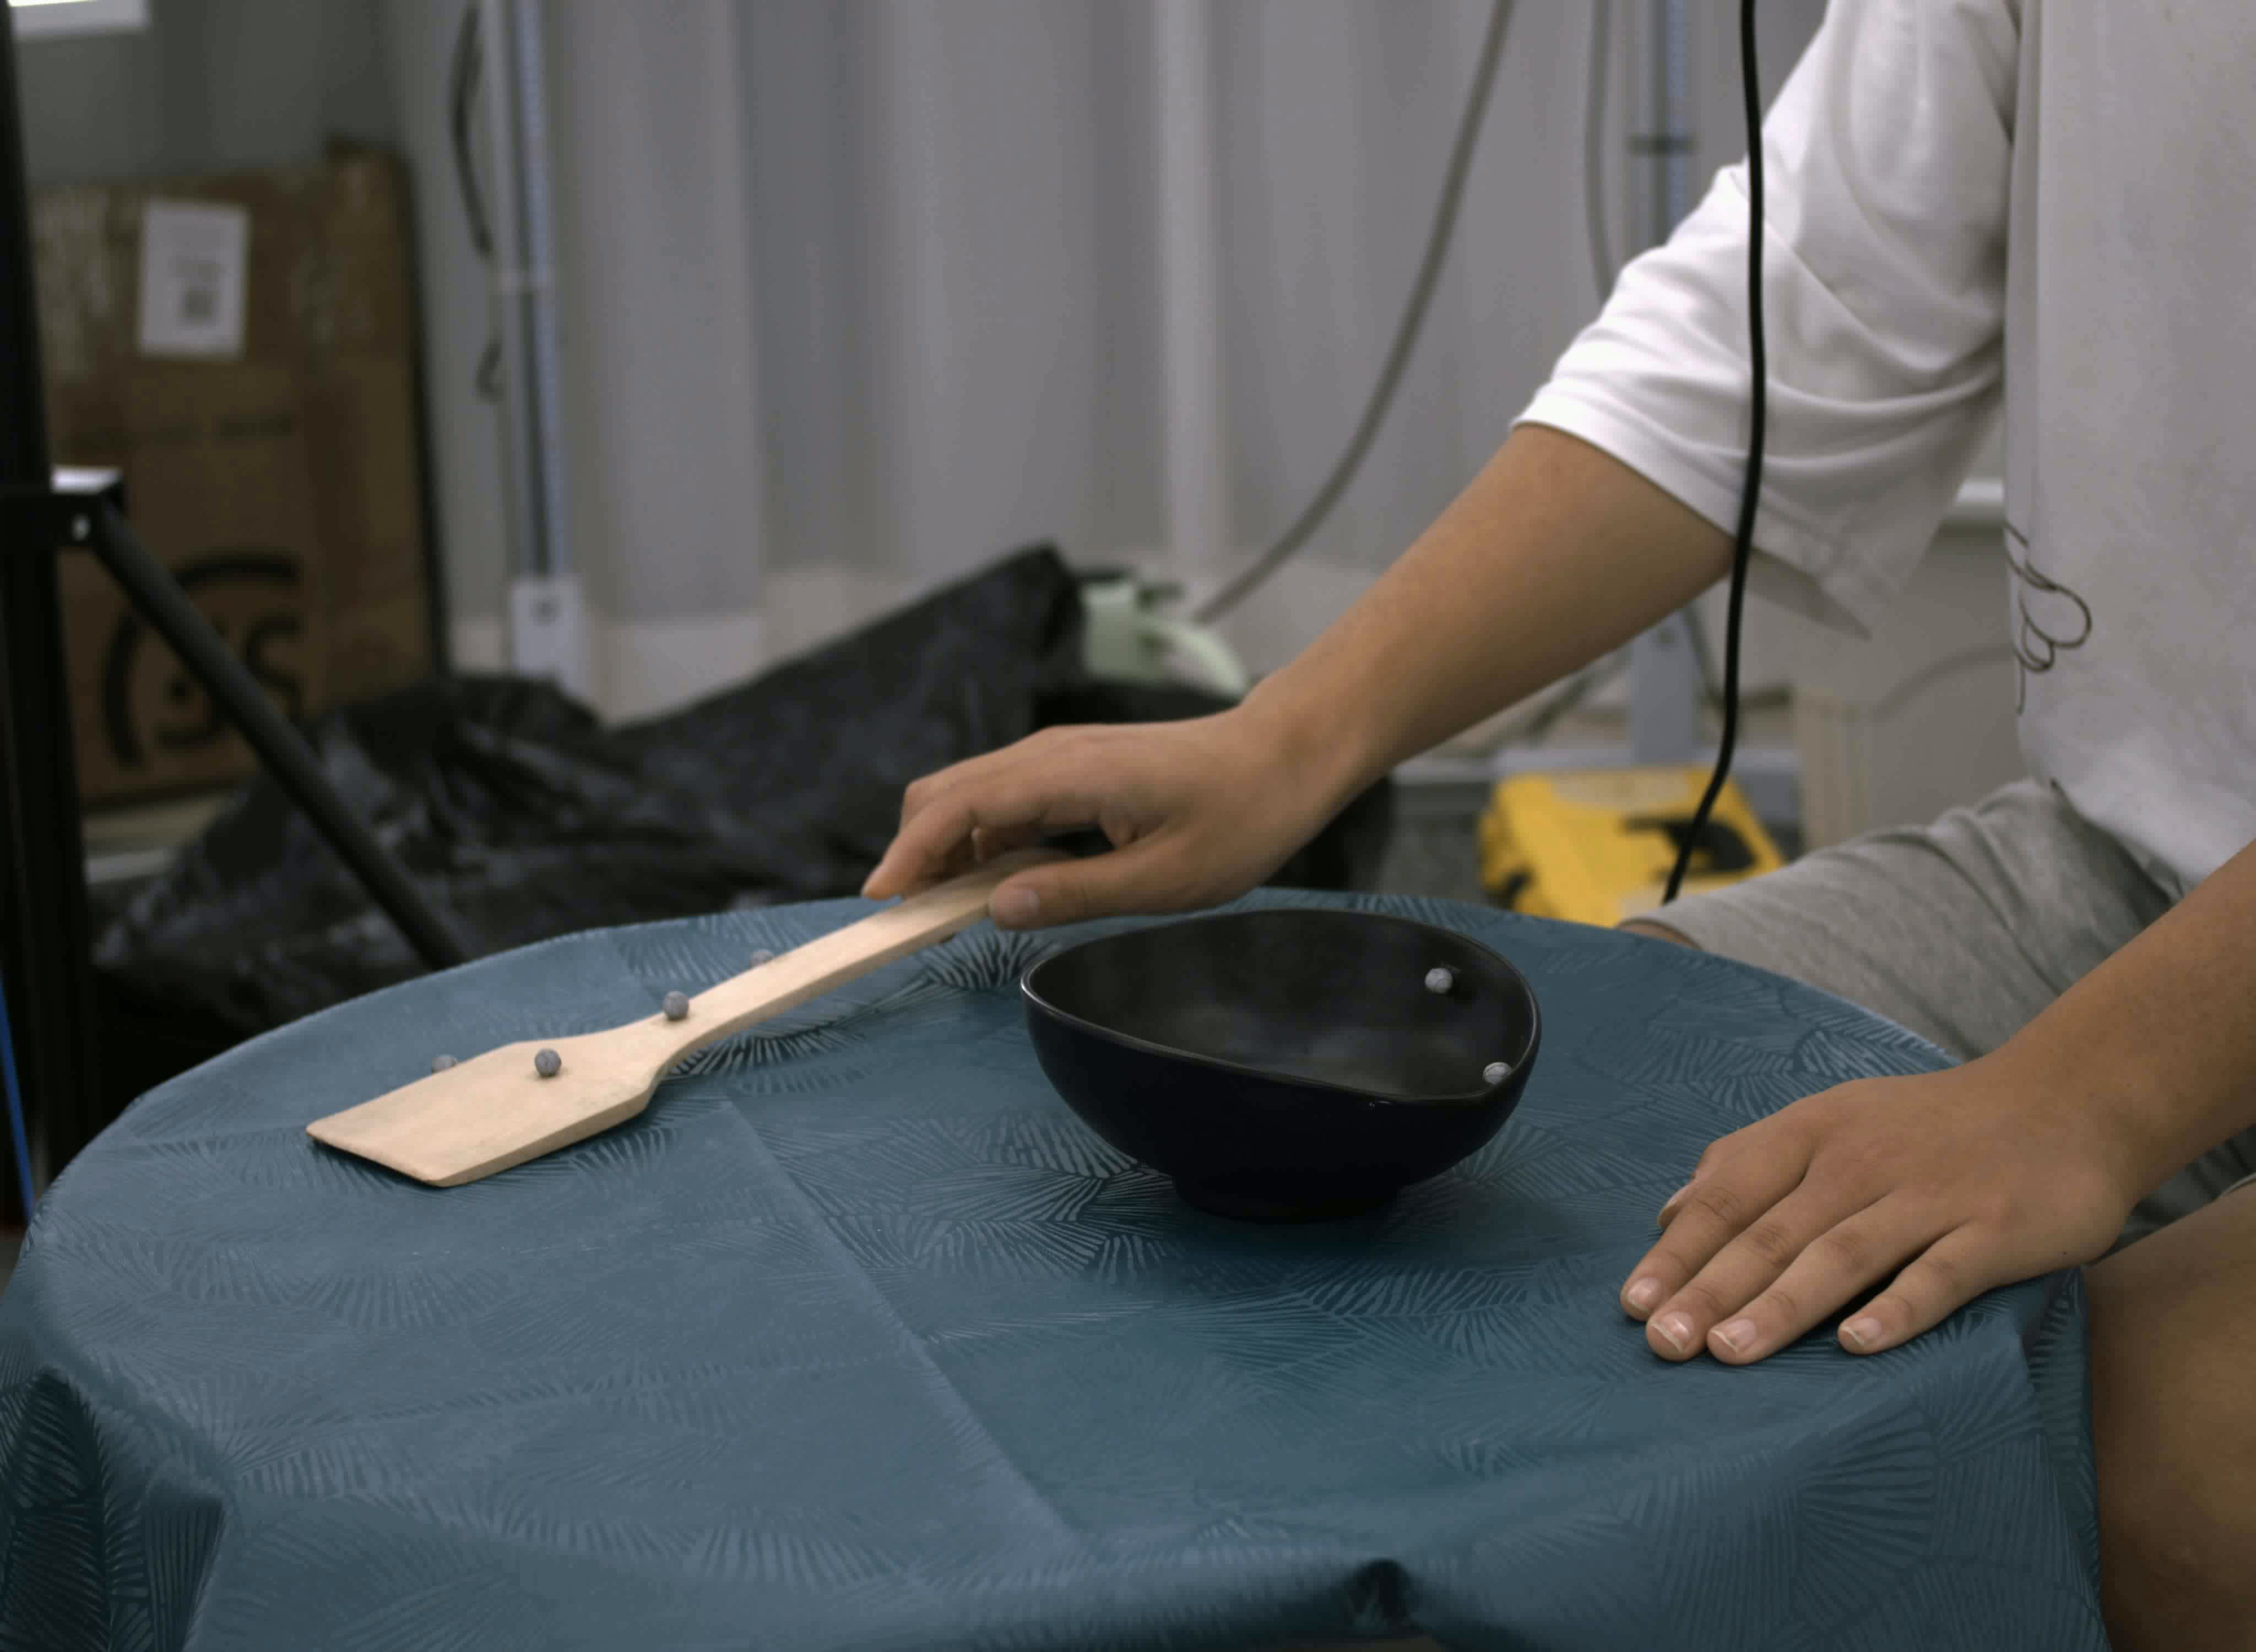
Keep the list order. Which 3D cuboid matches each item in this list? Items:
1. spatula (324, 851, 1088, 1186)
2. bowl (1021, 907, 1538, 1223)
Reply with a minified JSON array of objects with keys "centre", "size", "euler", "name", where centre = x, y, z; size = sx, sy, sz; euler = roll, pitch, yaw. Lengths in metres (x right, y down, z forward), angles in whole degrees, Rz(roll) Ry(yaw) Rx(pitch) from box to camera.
[{"centre":[-0.123,0.057,1.701],"size":[0.287,0.010,0.074],"euler":[-24,26,-38],"name":"spatula"},{"centre":[0.045,0.074,1.554],"size":[0.134,0.066,0.174],"euler":[-16,23,-41],"name":"bowl"}]
